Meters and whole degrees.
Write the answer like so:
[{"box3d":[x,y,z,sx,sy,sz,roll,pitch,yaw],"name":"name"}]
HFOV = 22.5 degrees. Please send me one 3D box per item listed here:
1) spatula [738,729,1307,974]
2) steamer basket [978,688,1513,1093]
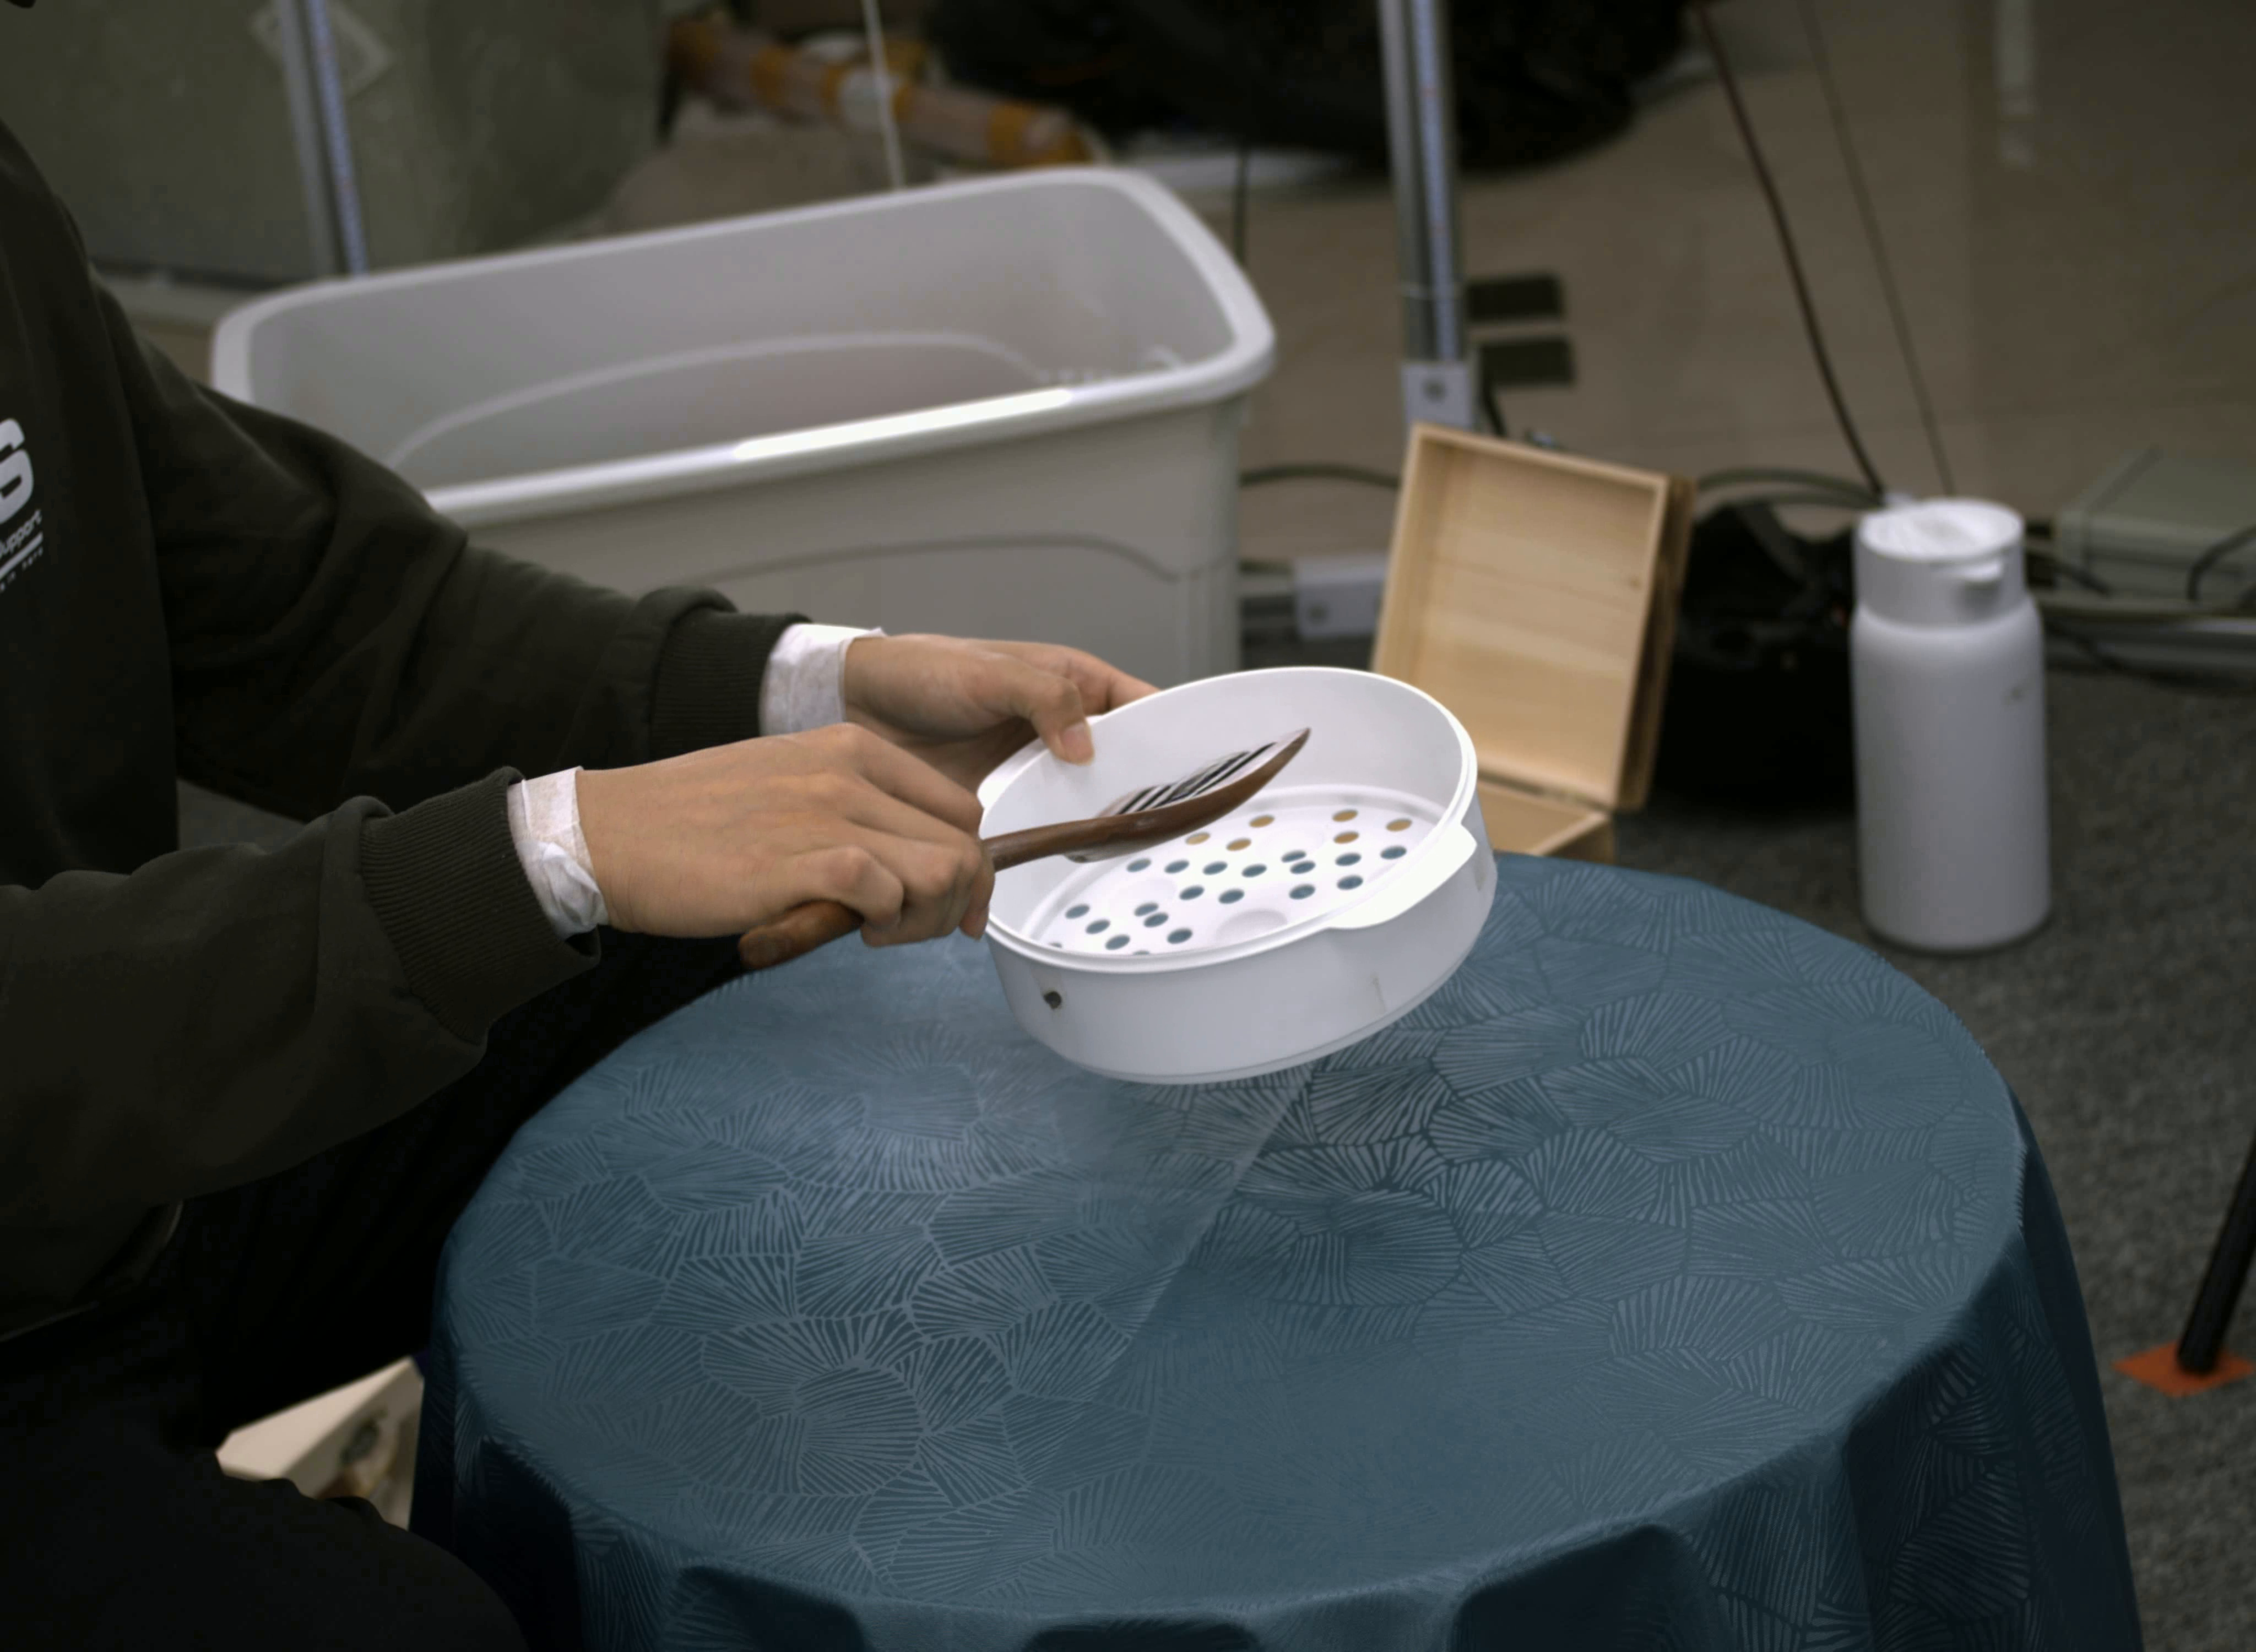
[{"box3d":[-0.038,0.011,1.958,0.086,0.024,0.383,-17,1,25],"name":"spatula"},{"box3d":[0.047,0.025,2.150,0.200,0.070,0.229,-36,32,-31],"name":"steamer basket"}]
